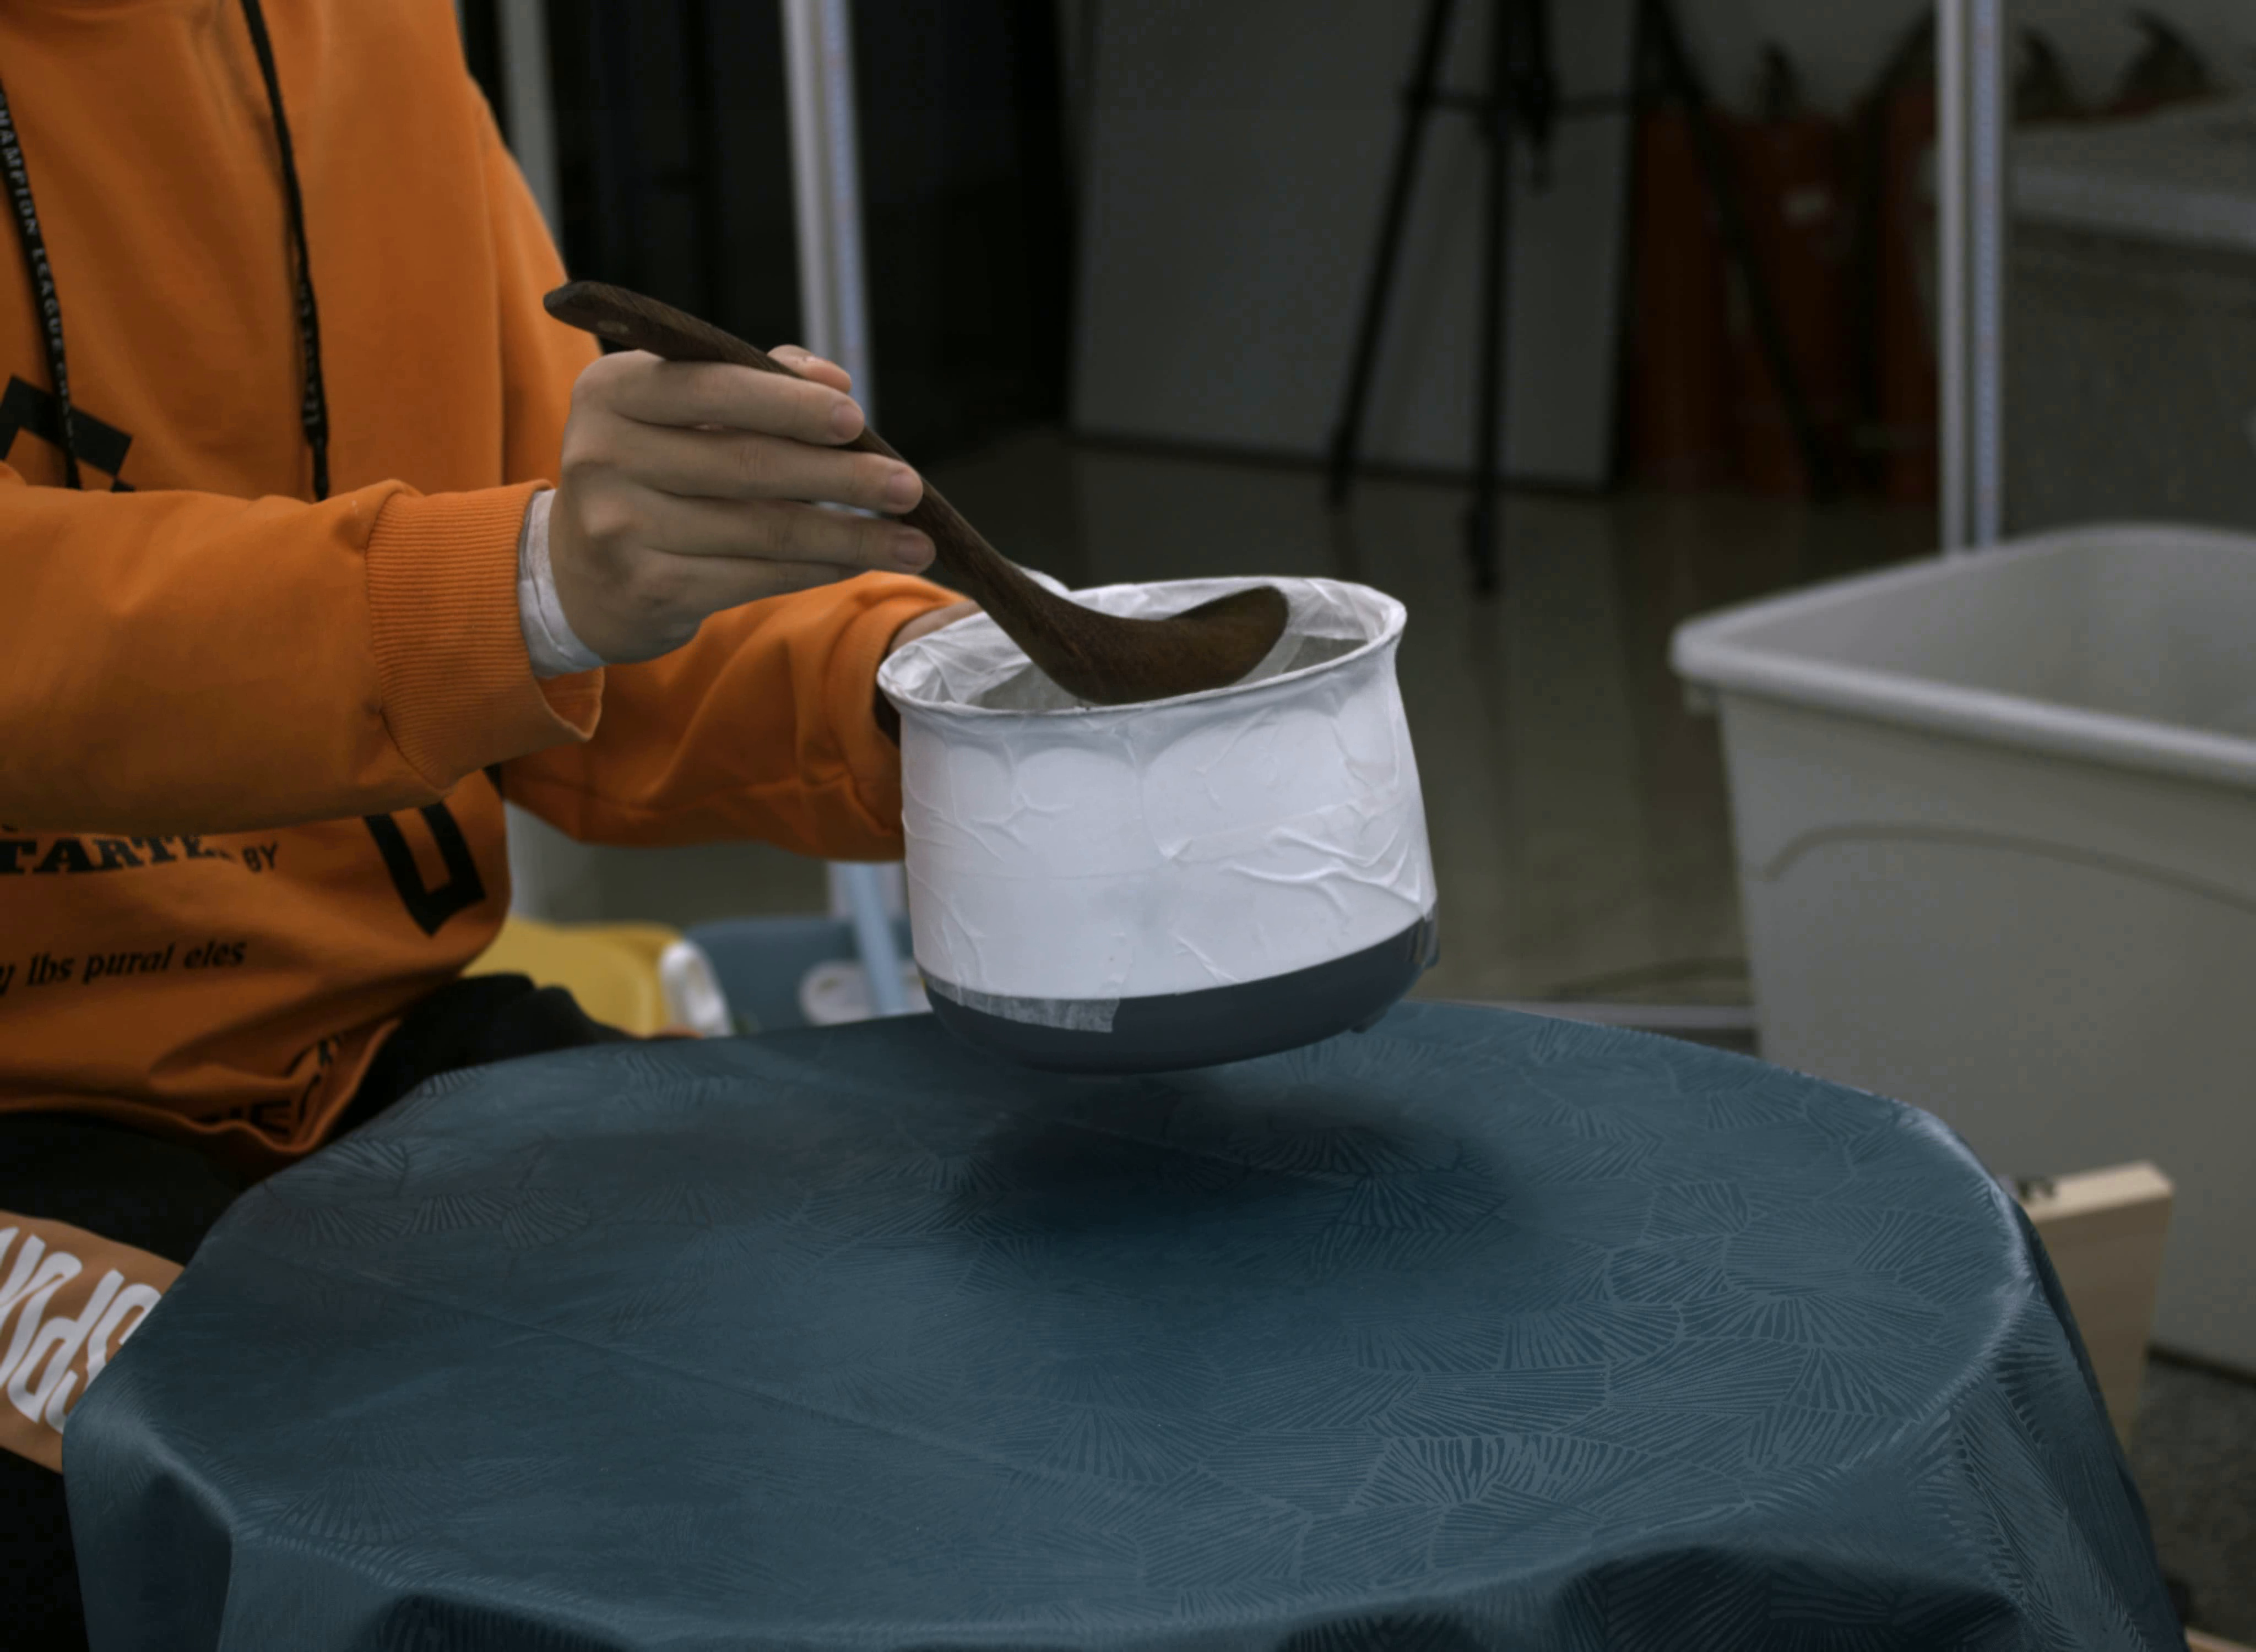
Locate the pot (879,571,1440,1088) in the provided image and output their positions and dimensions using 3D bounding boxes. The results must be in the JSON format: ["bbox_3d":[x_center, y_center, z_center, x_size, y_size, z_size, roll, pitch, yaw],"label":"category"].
[{"bbox_3d":[0.002,-0.005,1.812,0.175,0.138,0.236,-12,14,-18],"label":"pot"}]

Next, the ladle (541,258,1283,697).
[{"bbox_3d":[-0.063,-0.120,1.683,0.077,0.270,0.071,-19,42,49],"label":"ladle"}]
